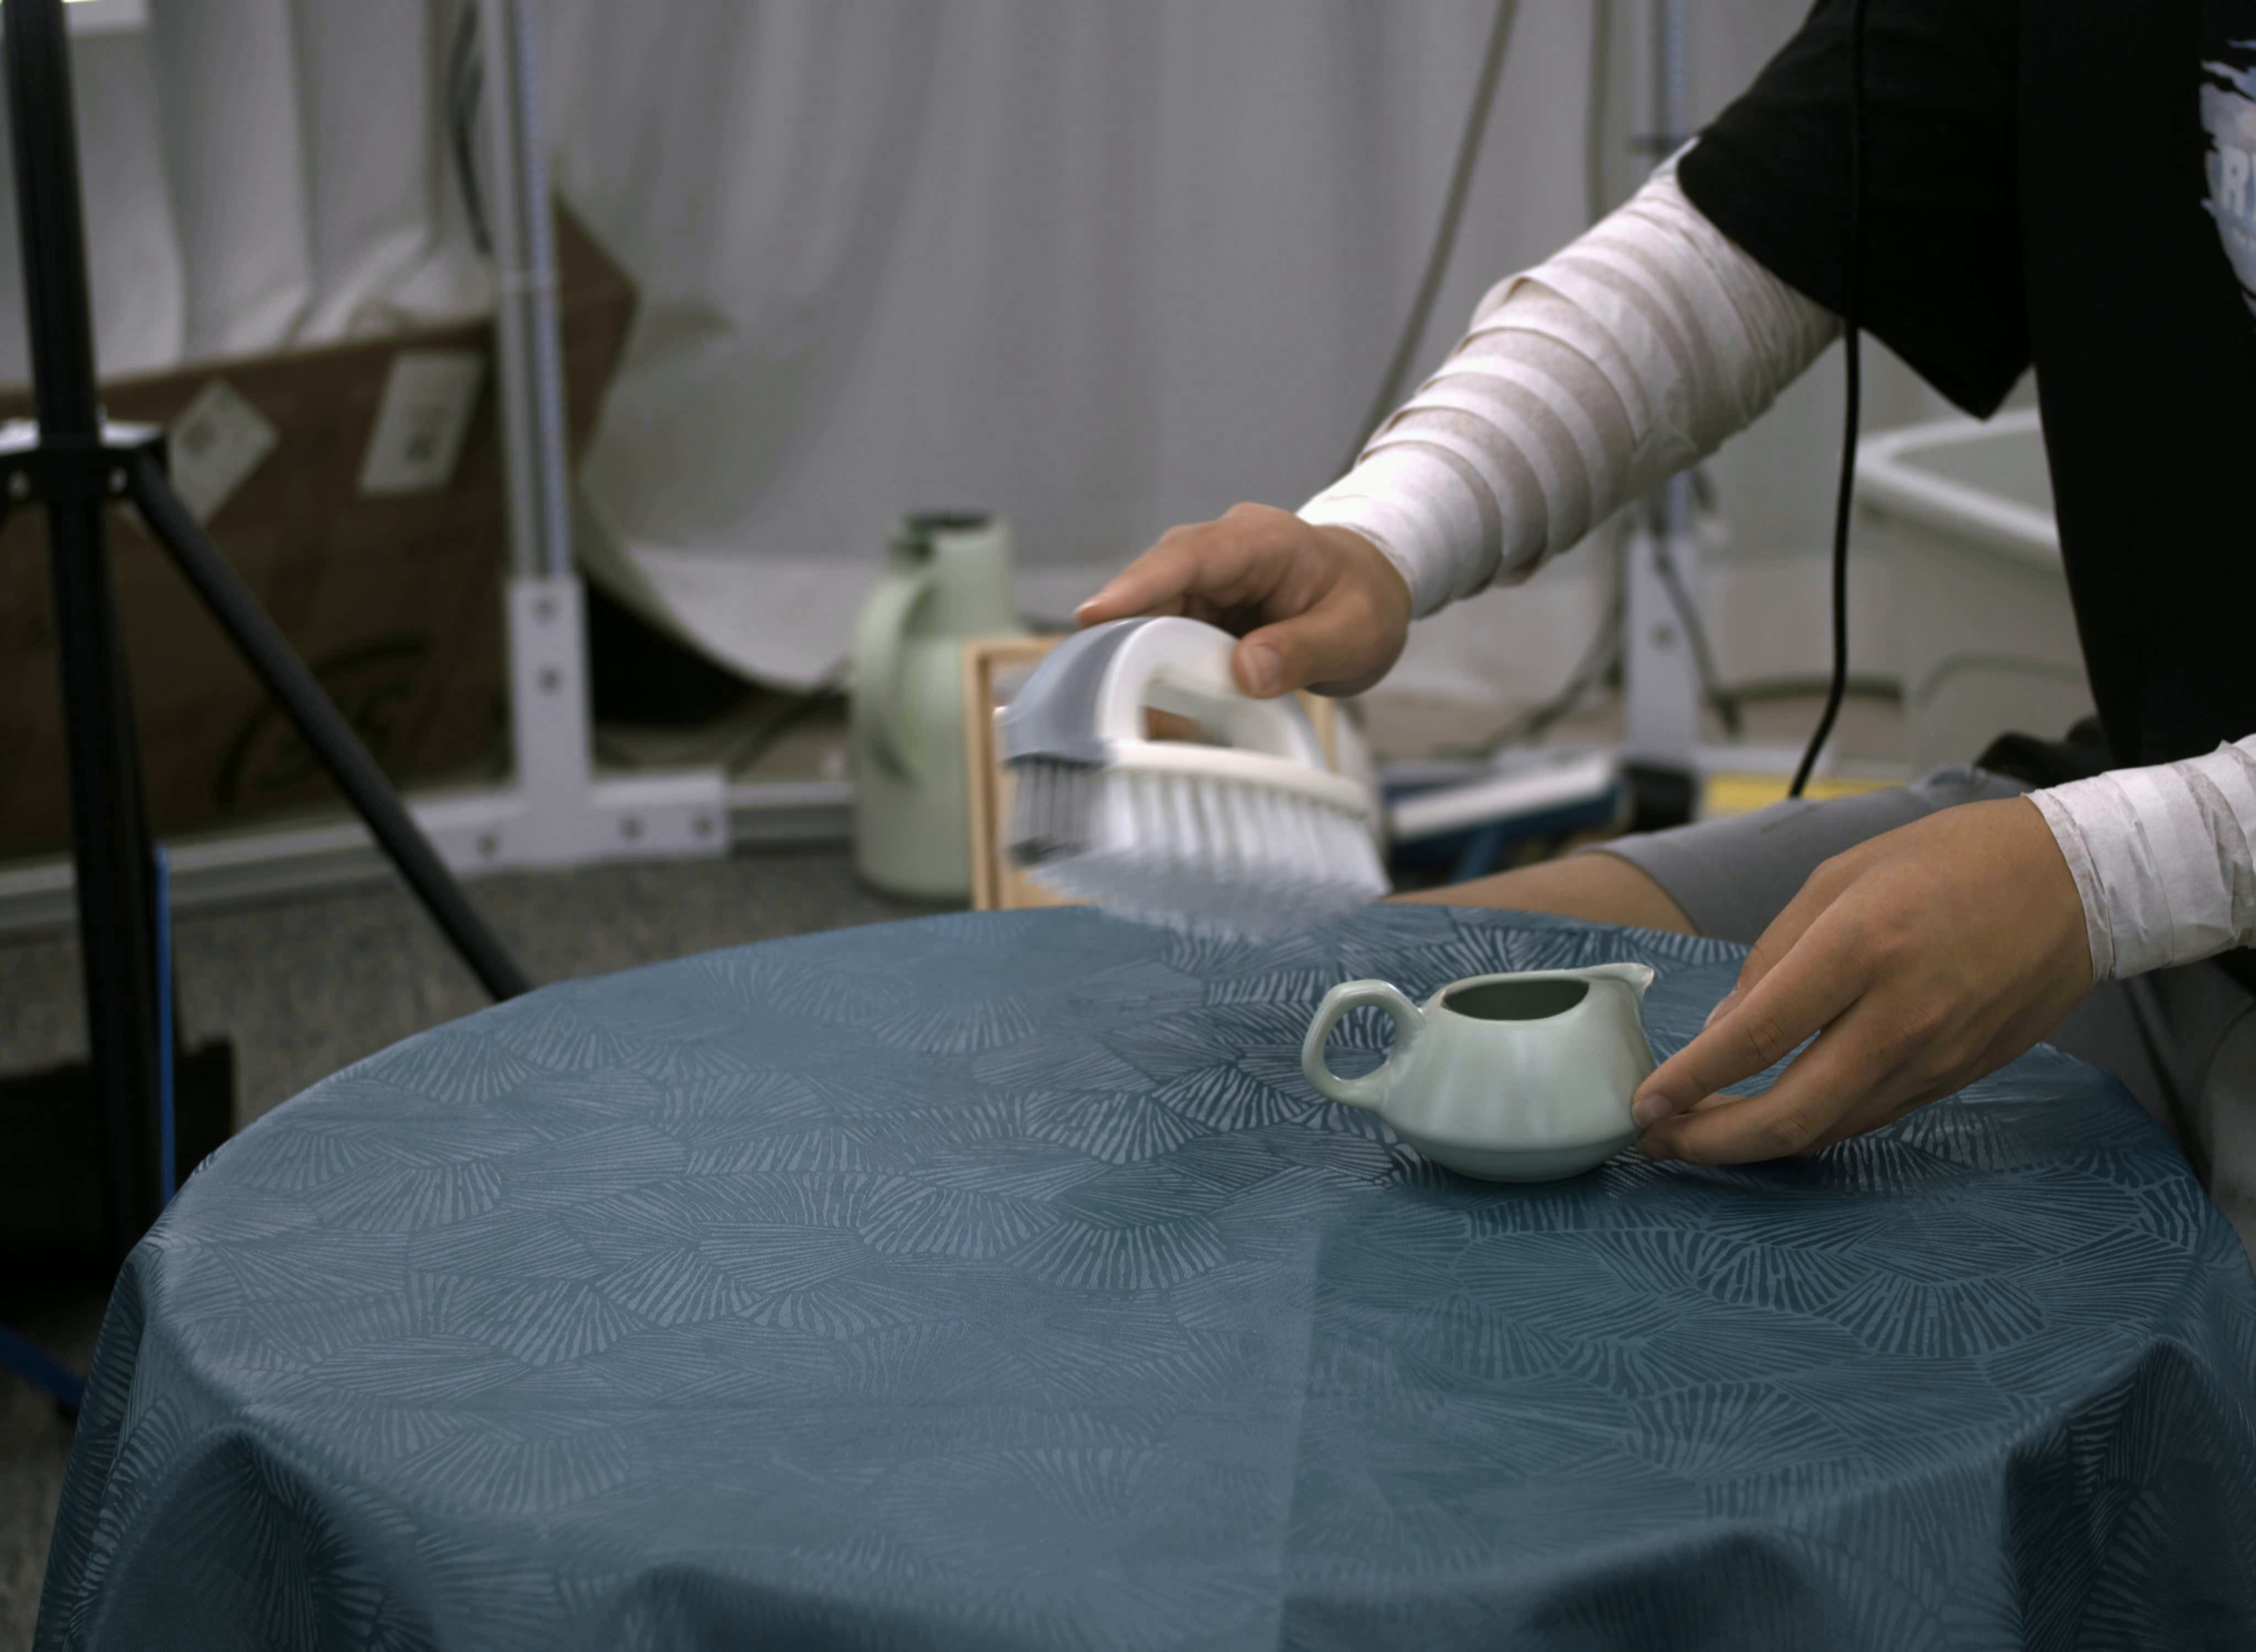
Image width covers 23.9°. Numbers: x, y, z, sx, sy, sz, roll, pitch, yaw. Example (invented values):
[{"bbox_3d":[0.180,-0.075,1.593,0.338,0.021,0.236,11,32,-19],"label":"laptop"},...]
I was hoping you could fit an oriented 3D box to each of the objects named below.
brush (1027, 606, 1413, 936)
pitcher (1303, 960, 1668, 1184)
[{"bbox_3d":[0.017,-0.024,1.613,0.062,0.095,0.171,-26,-20,27],"label":"brush"},{"bbox_3d":[0.105,0.073,1.564,0.107,0.060,0.087,-7,16,-9],"label":"pitcher"}]
